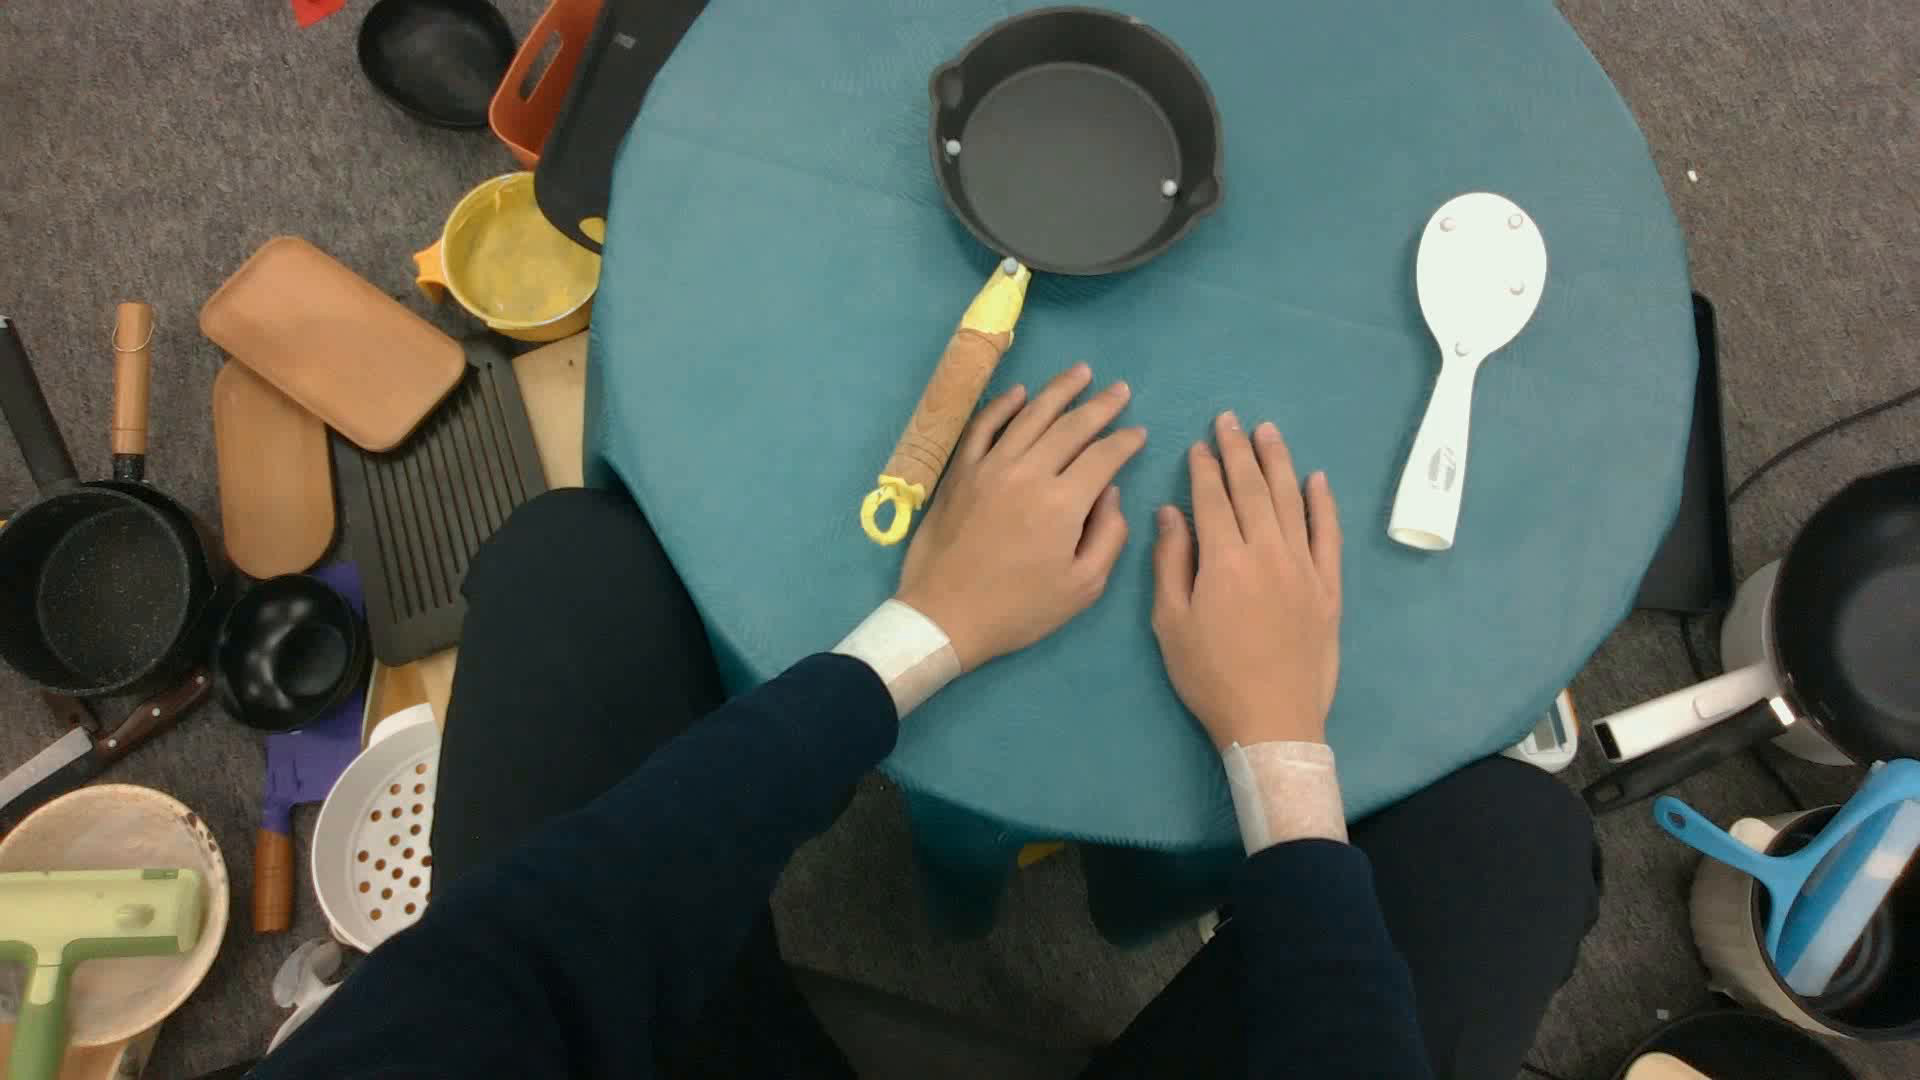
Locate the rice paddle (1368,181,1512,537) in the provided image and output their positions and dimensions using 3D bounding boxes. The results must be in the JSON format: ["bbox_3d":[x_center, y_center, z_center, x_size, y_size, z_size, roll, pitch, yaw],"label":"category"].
[{"bbox_3d":[0.252,-0.102,0.736,0.069,0.029,0.205,15,76,-1],"label":"rice paddle"}]

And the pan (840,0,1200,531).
[{"bbox_3d":[0.013,-0.146,0.721,0.169,0.049,0.325,26,75,3],"label":"pan"}]
